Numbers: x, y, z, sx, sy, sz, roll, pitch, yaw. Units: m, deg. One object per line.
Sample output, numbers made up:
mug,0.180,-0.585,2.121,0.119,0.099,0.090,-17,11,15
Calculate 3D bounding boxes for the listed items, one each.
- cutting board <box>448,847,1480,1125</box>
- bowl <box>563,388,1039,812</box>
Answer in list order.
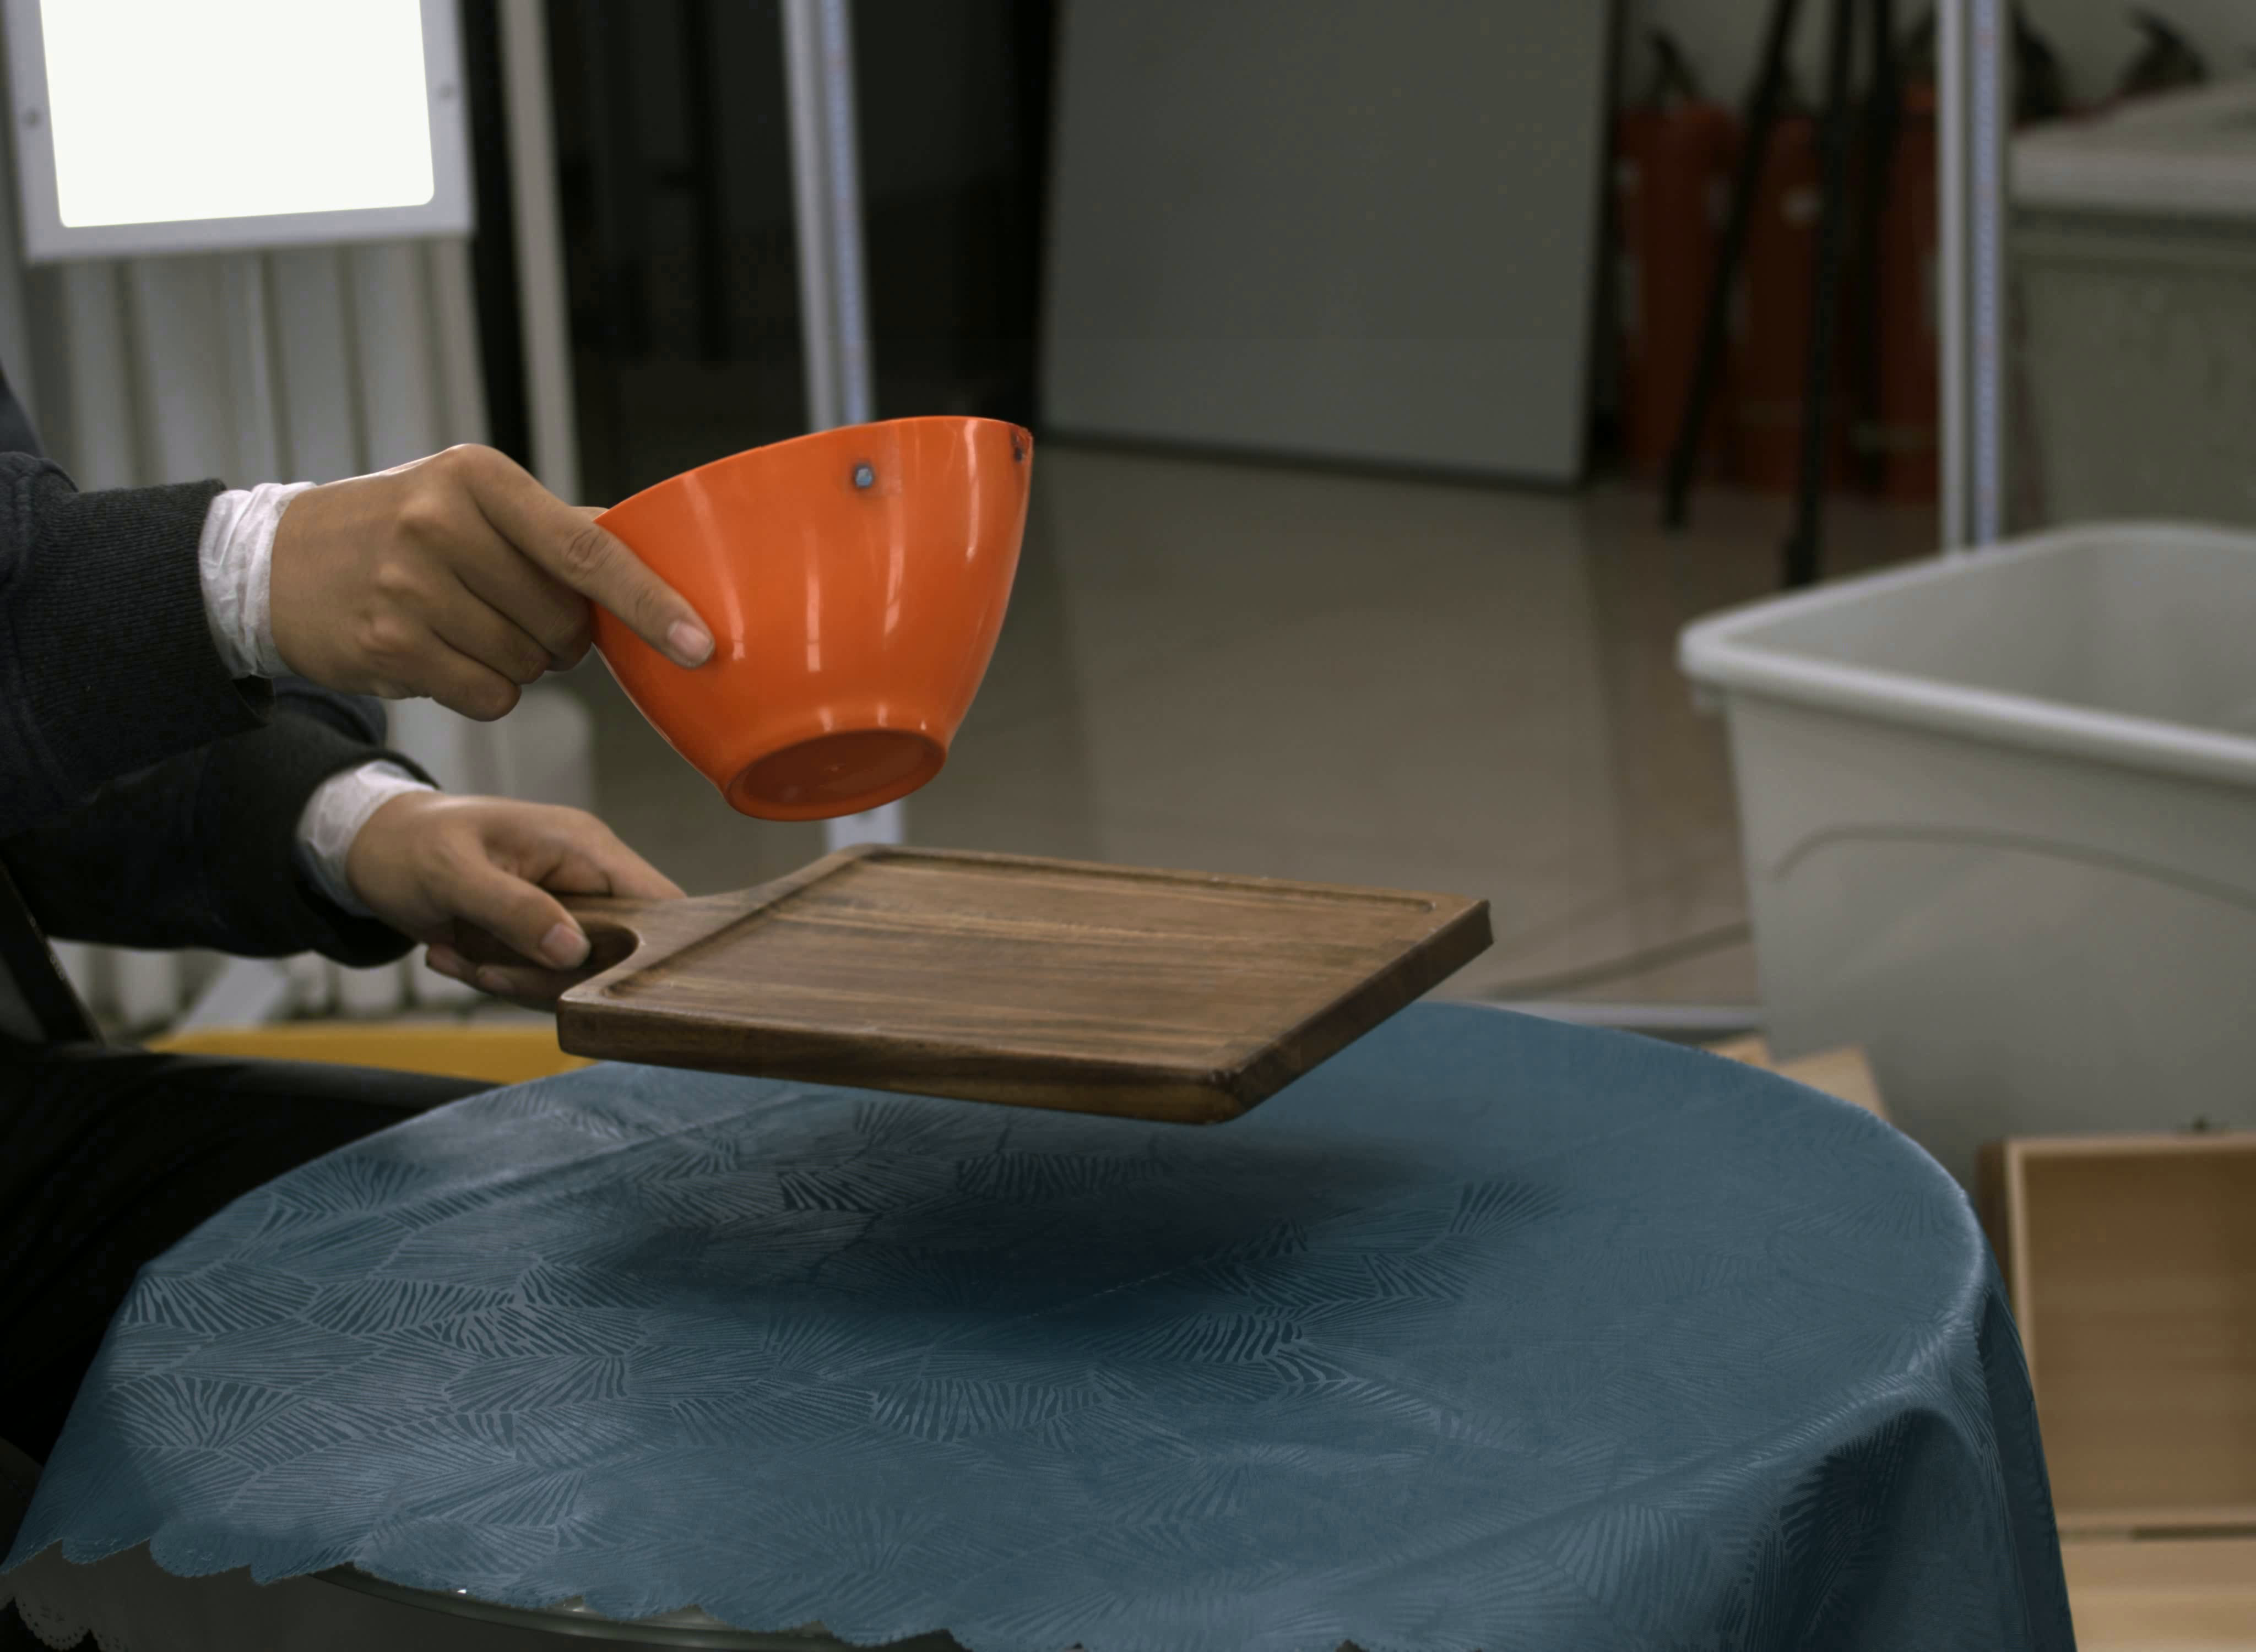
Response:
cutting board,-0.077,0.046,1.786,0.353,0.023,0.198,4,17,30
bowl,-0.089,-0.062,1.597,0.146,0.106,0.148,-10,-23,-5
